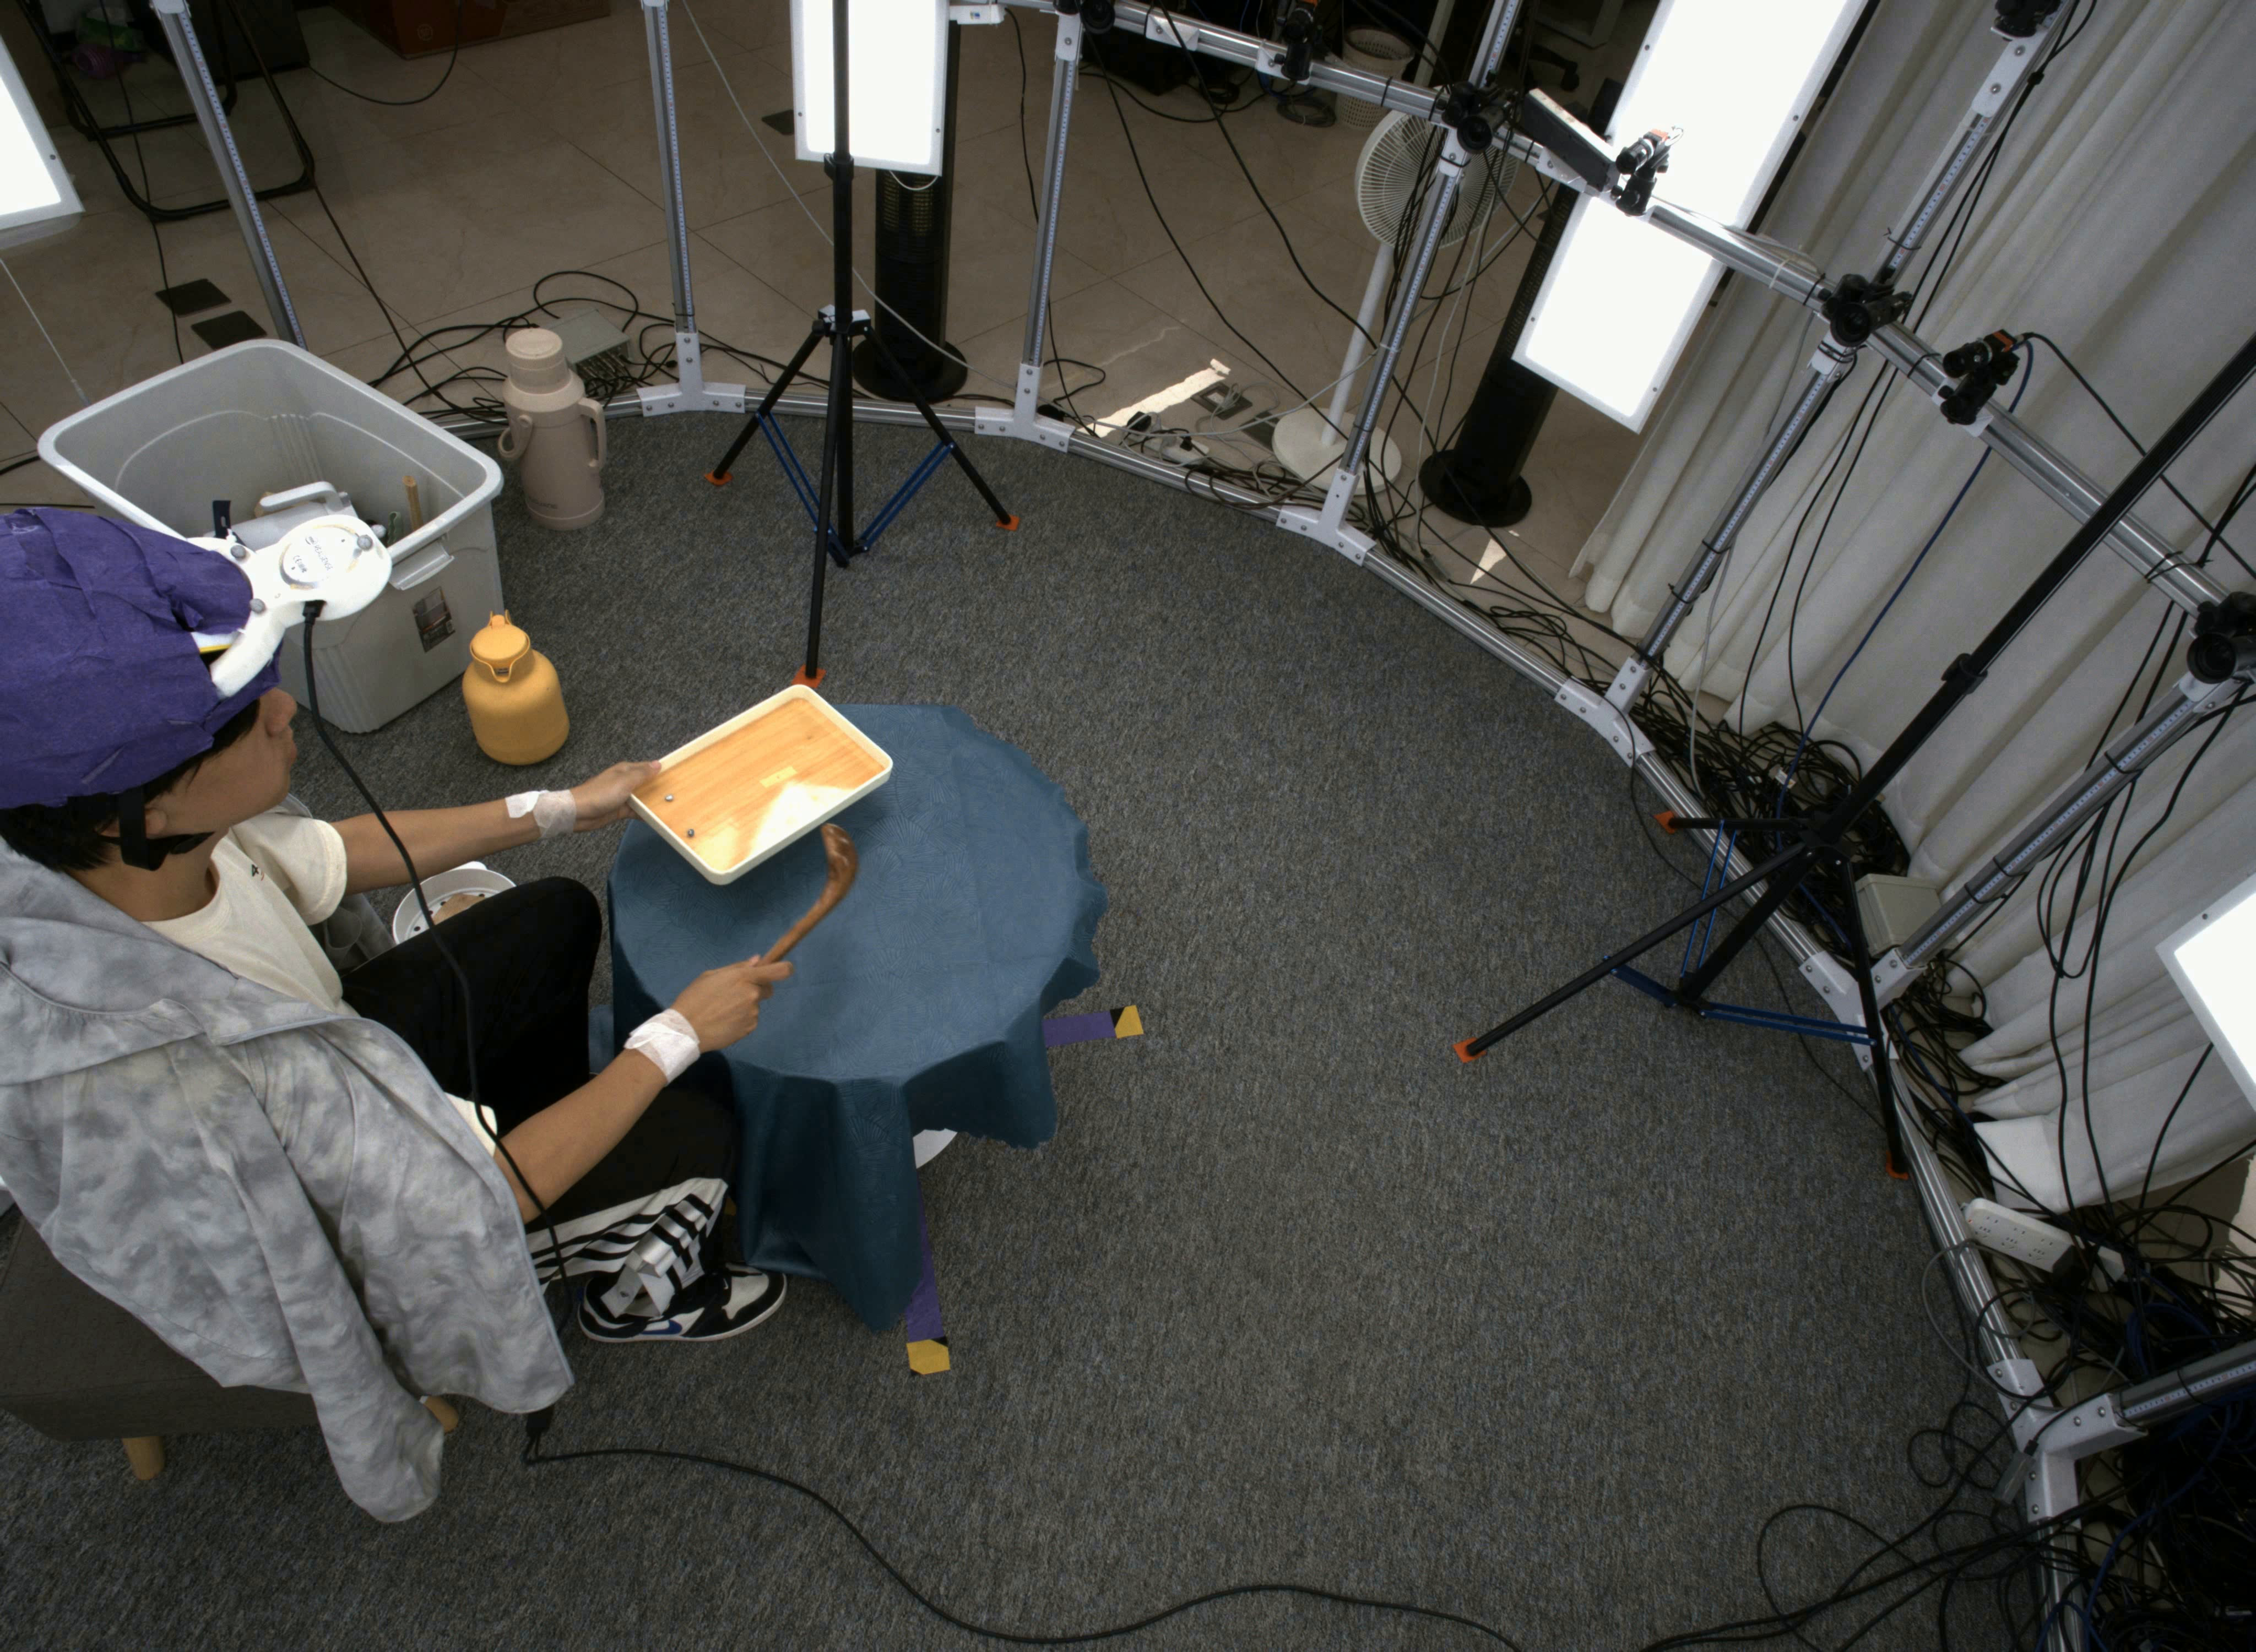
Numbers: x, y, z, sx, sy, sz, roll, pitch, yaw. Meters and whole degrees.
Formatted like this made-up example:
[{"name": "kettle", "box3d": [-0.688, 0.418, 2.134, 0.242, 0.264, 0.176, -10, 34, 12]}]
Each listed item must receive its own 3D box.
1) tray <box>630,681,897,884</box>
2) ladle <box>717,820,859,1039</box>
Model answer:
[{"name": "tray", "box3d": [-0.463, -0.063, 1.653, 0.188, 0.028, 0.301, 41, 50, 12]}, {"name": "ladle", "box3d": [-0.400, 0.110, 1.483, 0.074, 0.084, 0.274, 28, 68, 22]}]
